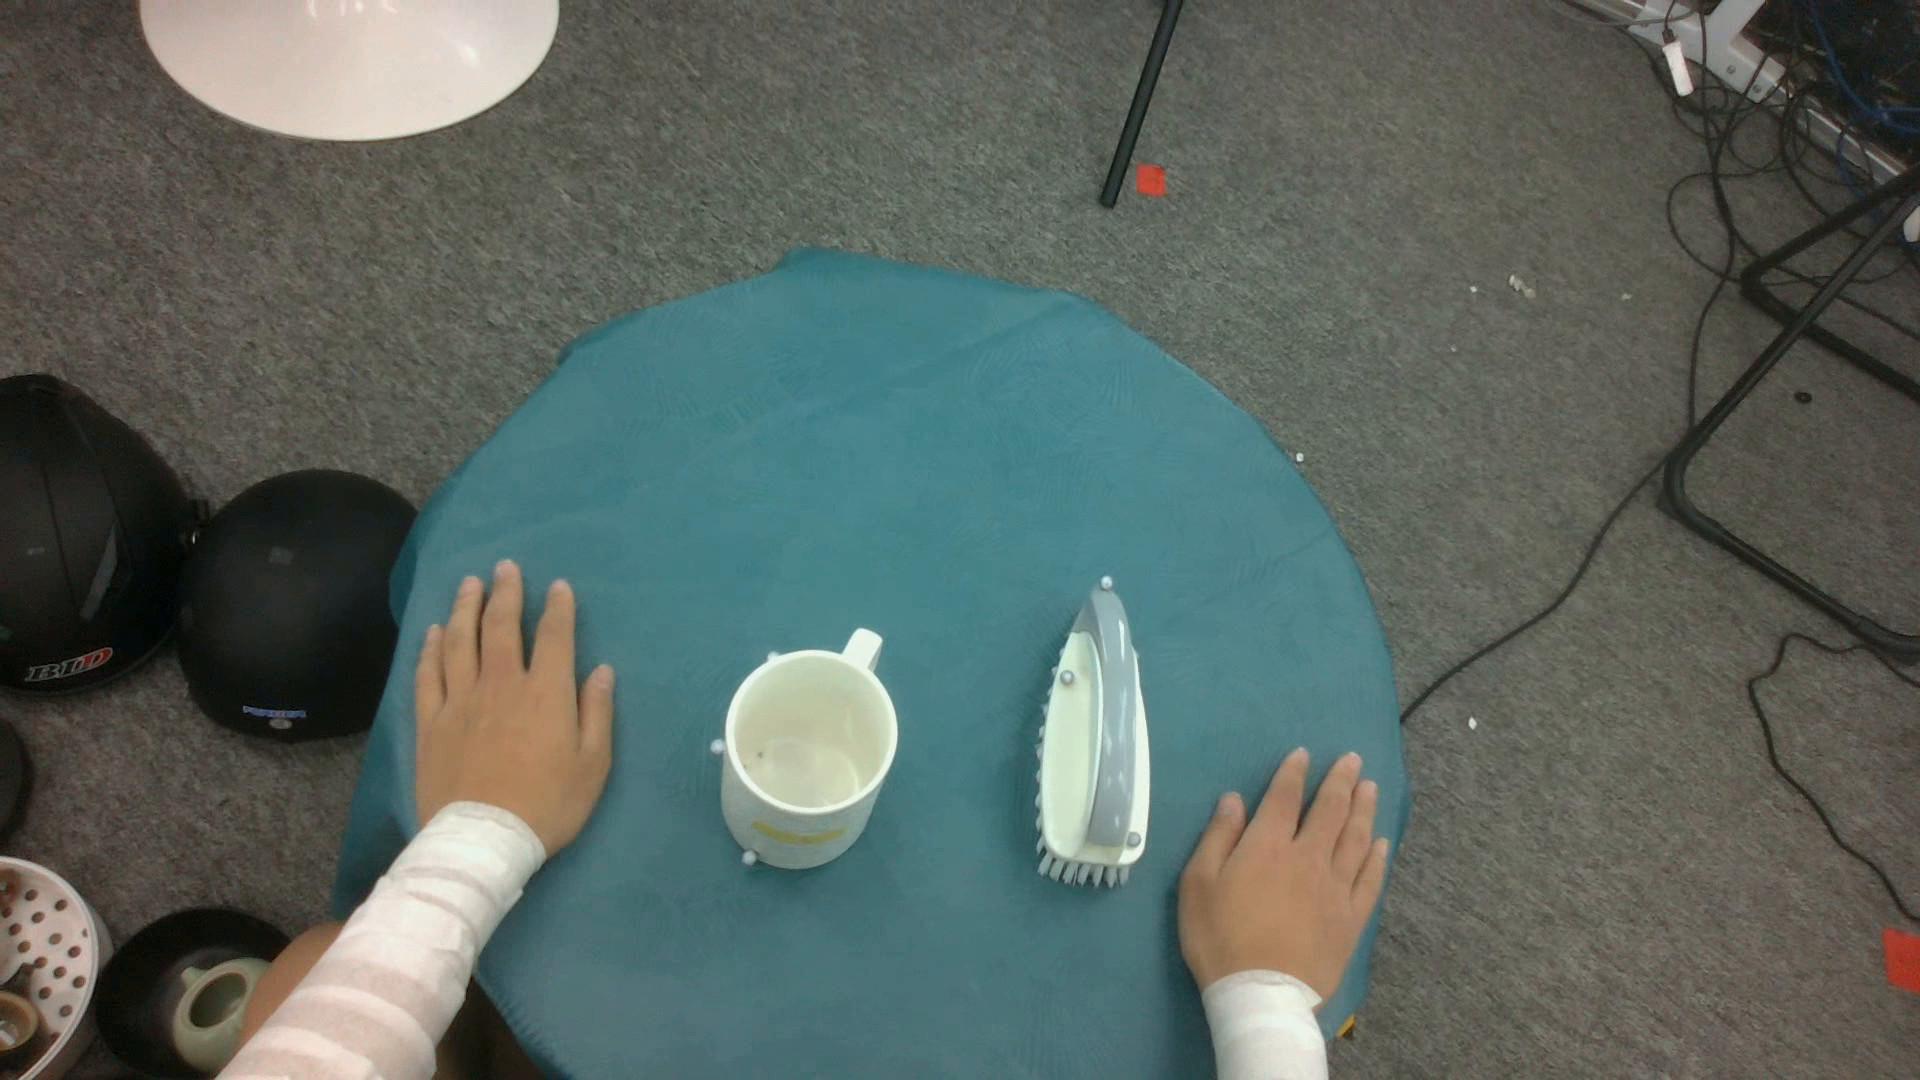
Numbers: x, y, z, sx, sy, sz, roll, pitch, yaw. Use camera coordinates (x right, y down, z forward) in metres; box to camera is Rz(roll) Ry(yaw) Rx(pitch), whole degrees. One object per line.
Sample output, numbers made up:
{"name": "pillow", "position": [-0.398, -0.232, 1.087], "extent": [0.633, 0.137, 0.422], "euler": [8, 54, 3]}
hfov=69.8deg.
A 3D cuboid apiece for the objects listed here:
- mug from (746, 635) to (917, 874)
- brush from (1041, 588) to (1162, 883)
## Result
{"name": "mug", "position": [-0.066, 0.111, 0.743], "extent": [0.085, 0.101, 0.119], "euler": [22, 58, 3]}
{"name": "brush", "position": [0.086, 0.097, 0.785], "extent": [0.061, 0.094, 0.176], "euler": [10, 56, -10]}
